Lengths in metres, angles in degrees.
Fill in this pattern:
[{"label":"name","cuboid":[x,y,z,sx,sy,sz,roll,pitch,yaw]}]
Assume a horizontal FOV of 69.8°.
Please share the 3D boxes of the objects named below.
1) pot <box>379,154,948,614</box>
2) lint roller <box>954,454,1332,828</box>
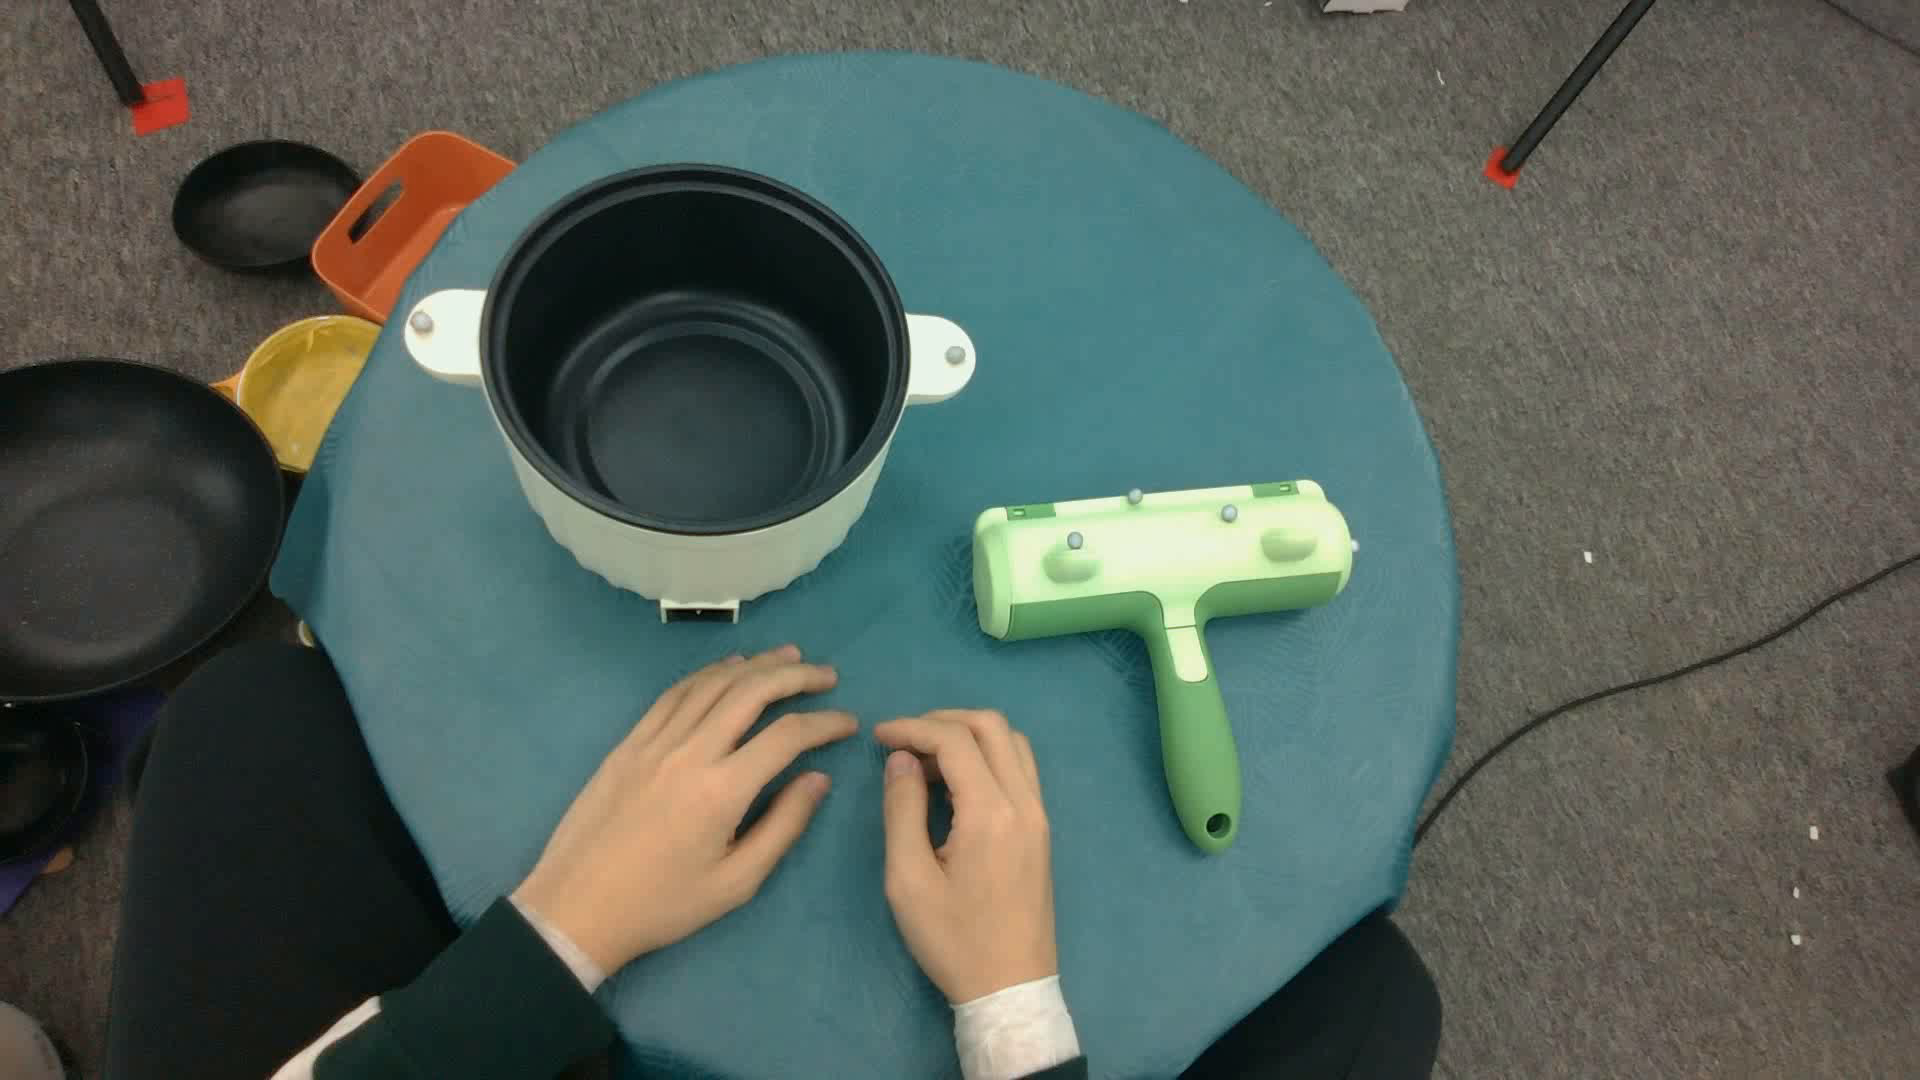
[{"label":"pot","cuboid":[-0.136,-0.072,0.653,0.241,0.142,0.191,-1,72,-13]},{"label":"lint roller","cuboid":[0.108,0.046,0.687,0.199,0.082,0.184,-6,65,-14]}]
